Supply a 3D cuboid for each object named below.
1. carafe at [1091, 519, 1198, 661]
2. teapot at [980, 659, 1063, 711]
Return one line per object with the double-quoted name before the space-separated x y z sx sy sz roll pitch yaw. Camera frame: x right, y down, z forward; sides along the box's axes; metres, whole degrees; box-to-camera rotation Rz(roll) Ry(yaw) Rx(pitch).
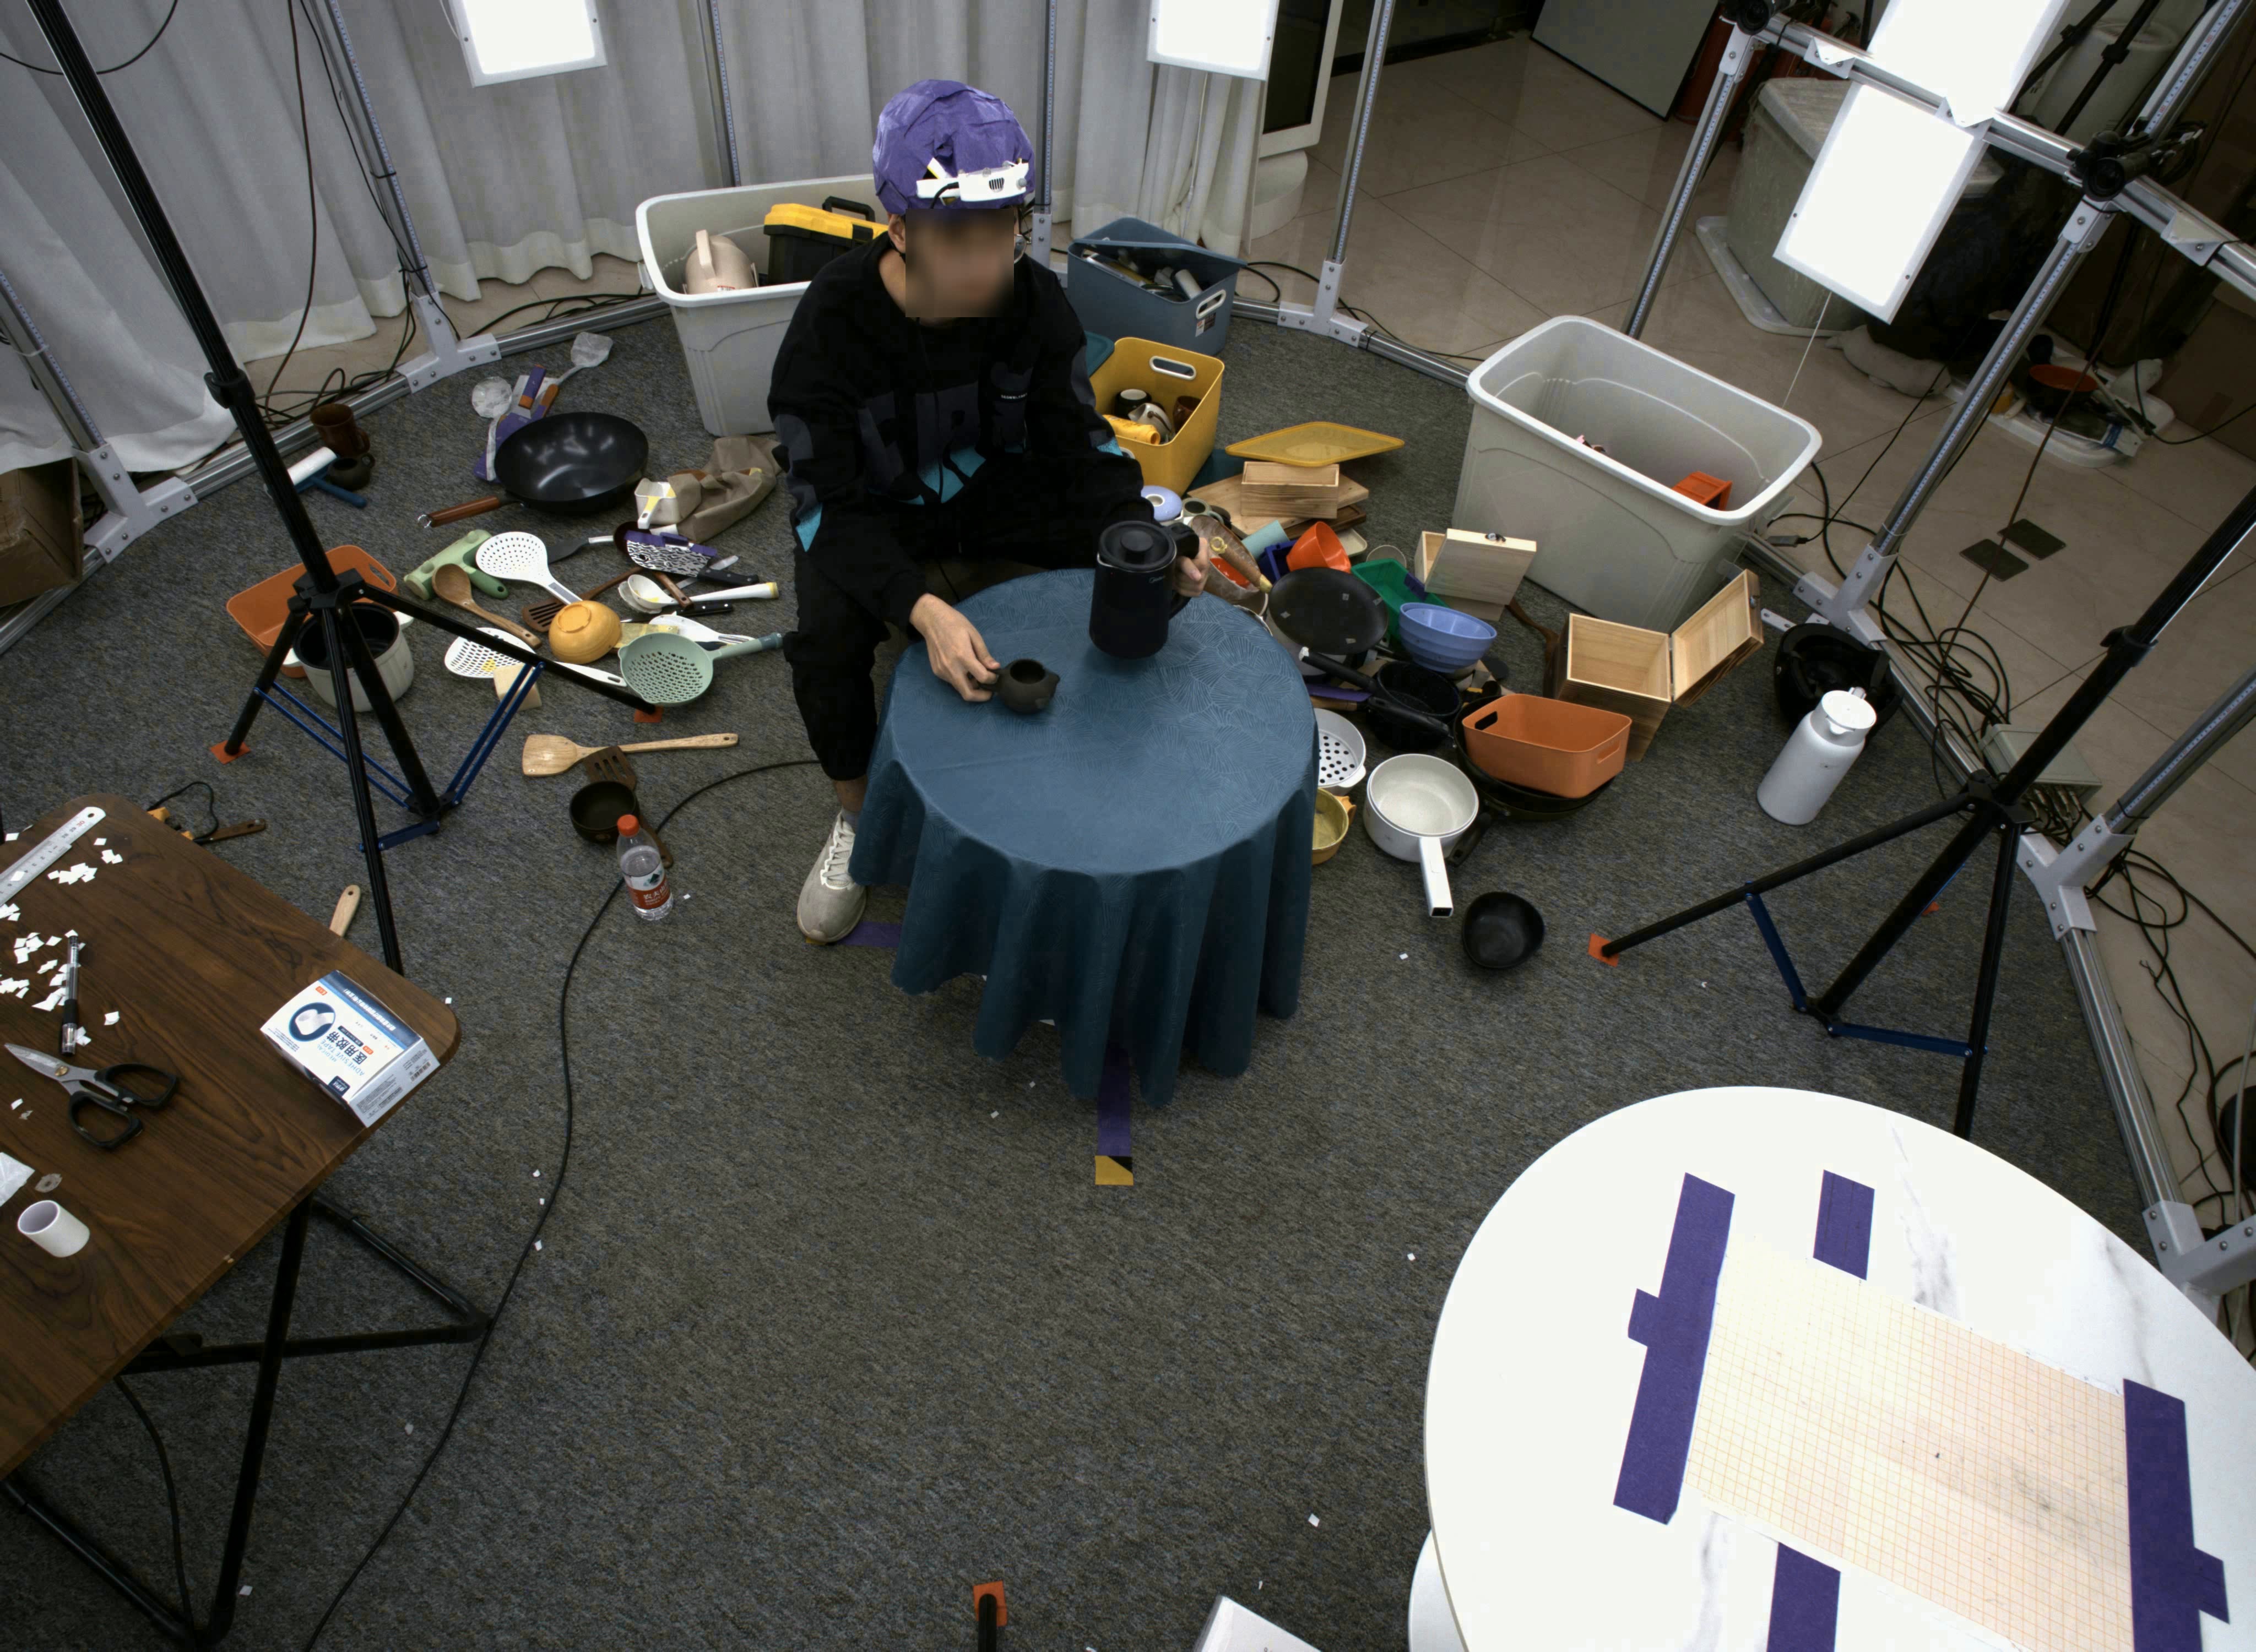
"carafe" 0.024 -0.344 1.810 0.172 0.169 0.117 -30 56 -25
"teapot" -0.150 -0.200 1.796 0.114 0.052 0.085 10 43 -2
